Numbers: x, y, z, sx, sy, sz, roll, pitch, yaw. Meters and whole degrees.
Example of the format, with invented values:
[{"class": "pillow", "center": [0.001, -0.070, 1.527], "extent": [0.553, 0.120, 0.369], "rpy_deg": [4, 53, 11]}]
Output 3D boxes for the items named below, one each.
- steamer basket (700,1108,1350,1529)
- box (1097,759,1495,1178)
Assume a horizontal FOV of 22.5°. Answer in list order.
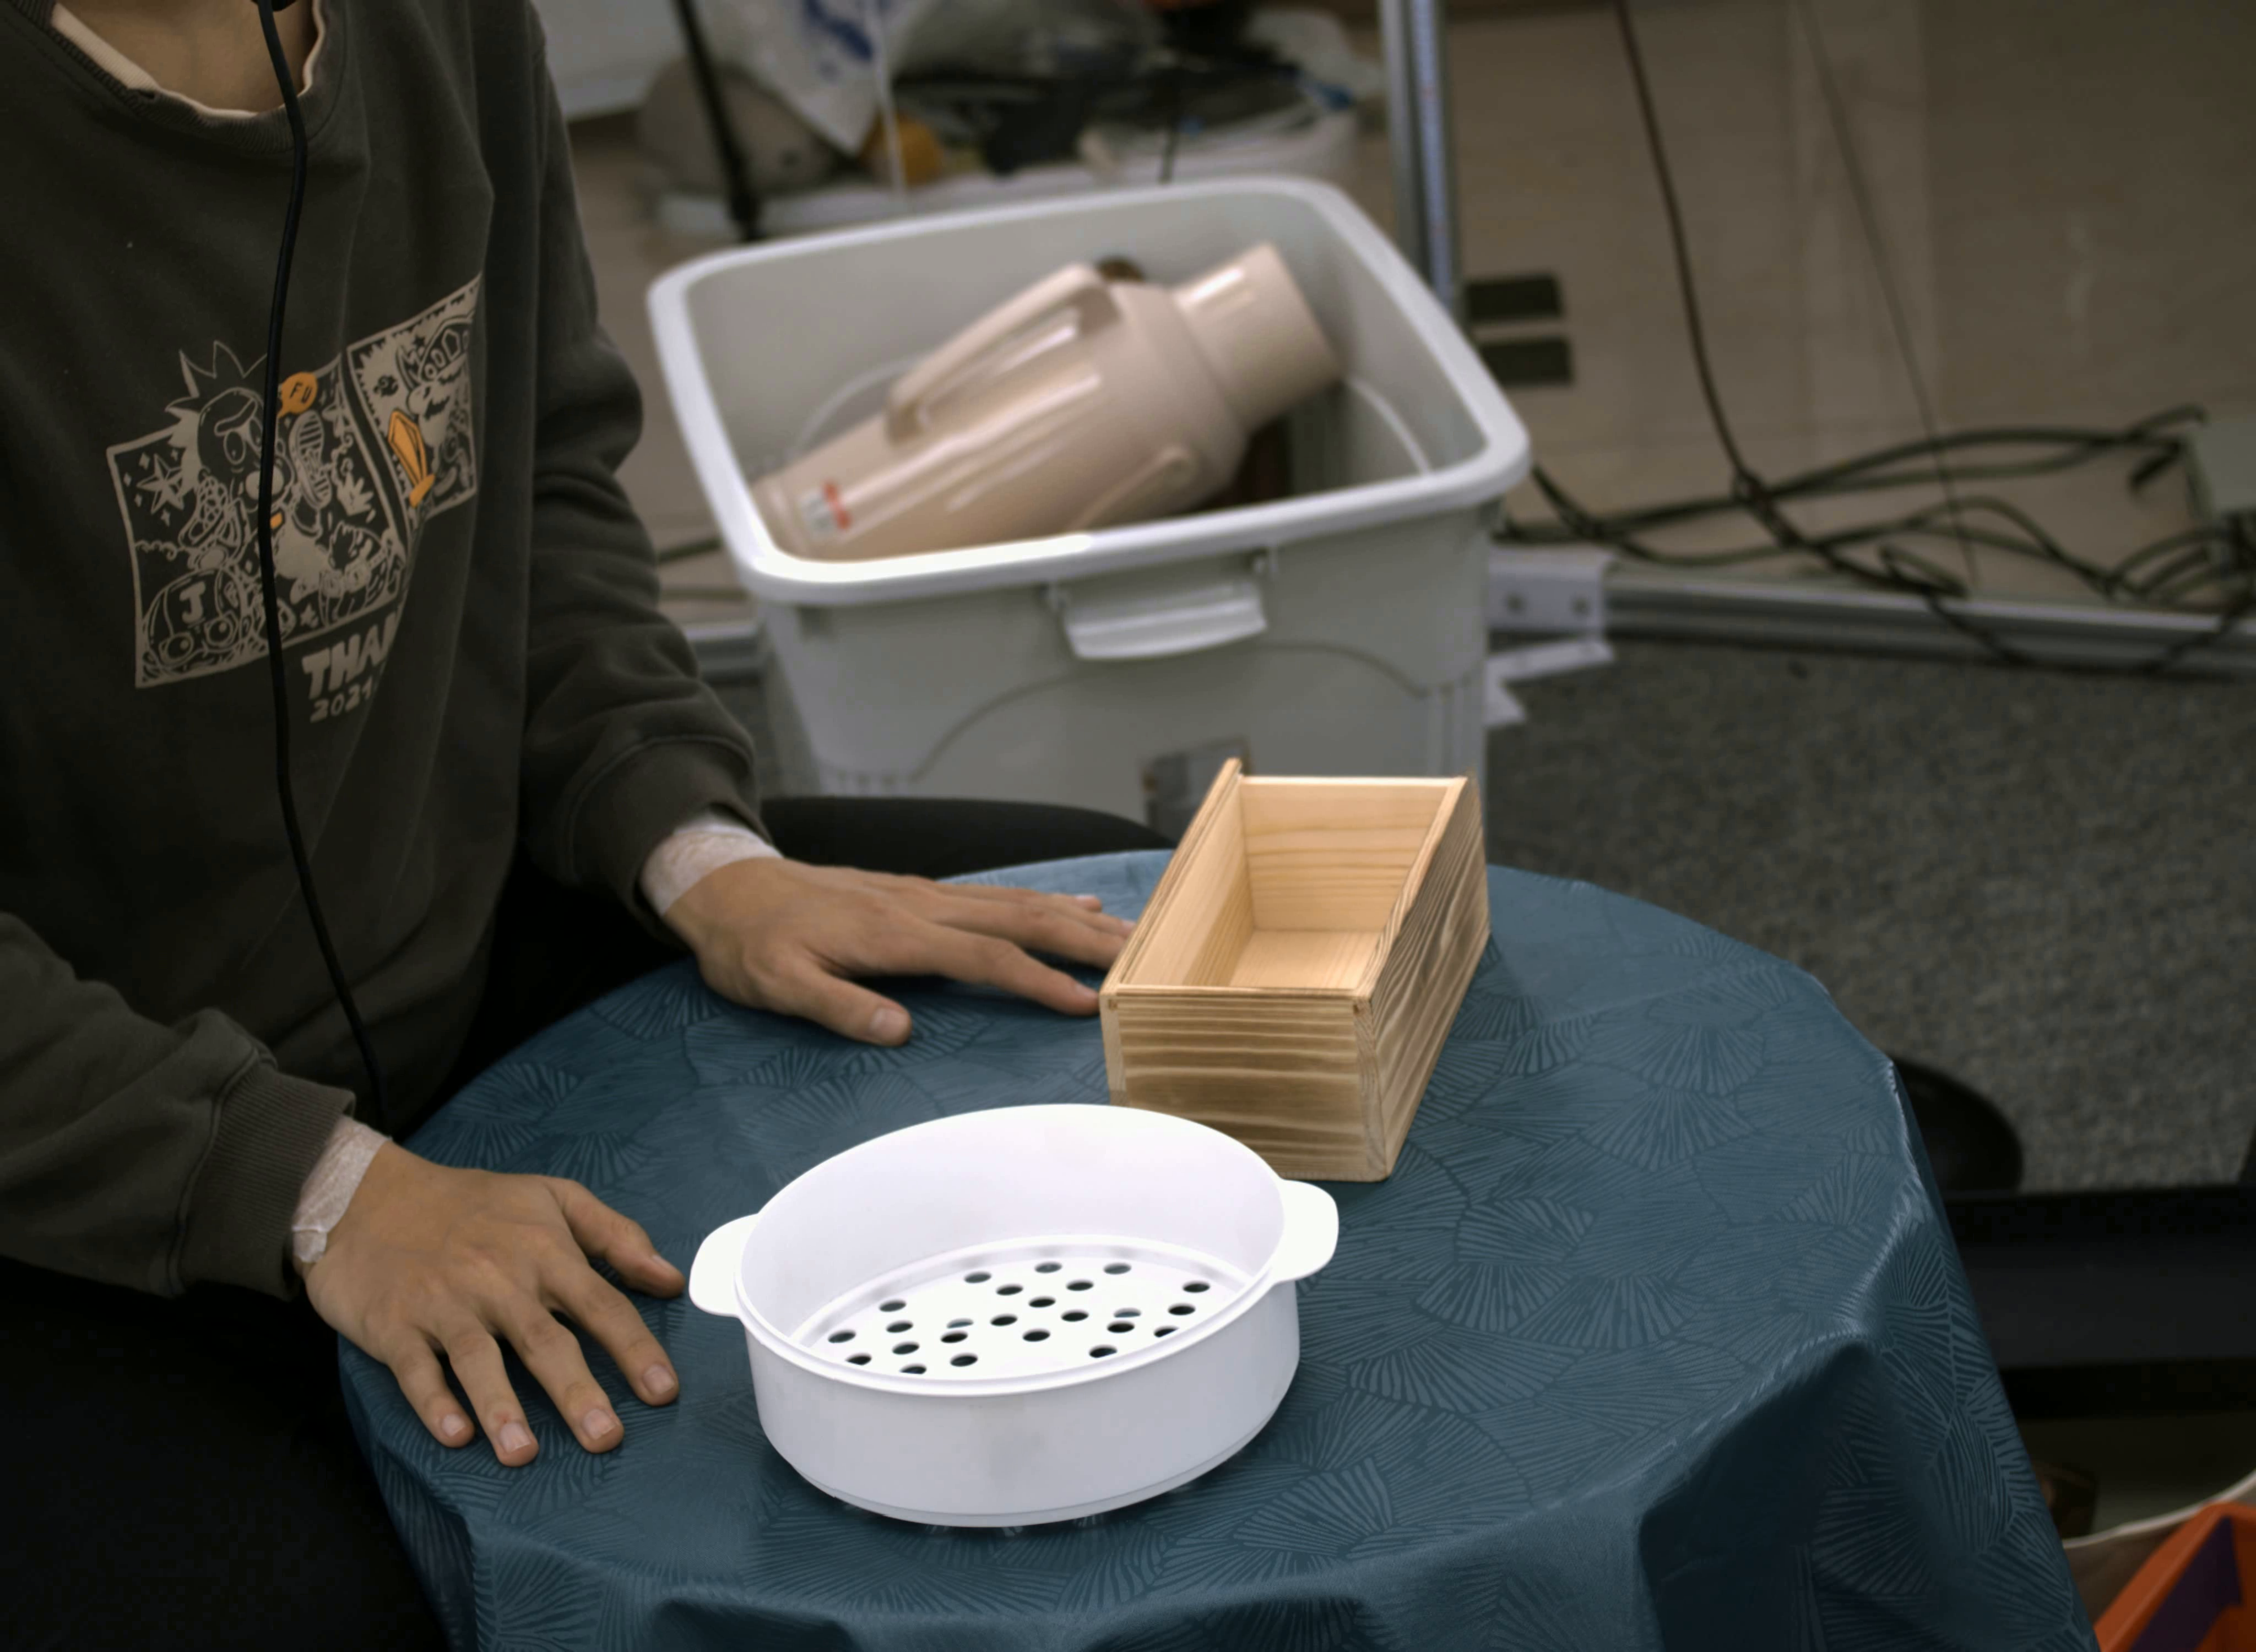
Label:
[{"class": "steamer basket", "center": [-0.033, 0.173, 2.001], "extent": [0.230, 0.070, 0.199], "rpy_deg": [-5, 24, 7]}, {"class": "box", "center": [0.069, 0.053, 2.216], "extent": [0.107, 0.081, 0.208], "rpy_deg": [0, 26, 15]}]
